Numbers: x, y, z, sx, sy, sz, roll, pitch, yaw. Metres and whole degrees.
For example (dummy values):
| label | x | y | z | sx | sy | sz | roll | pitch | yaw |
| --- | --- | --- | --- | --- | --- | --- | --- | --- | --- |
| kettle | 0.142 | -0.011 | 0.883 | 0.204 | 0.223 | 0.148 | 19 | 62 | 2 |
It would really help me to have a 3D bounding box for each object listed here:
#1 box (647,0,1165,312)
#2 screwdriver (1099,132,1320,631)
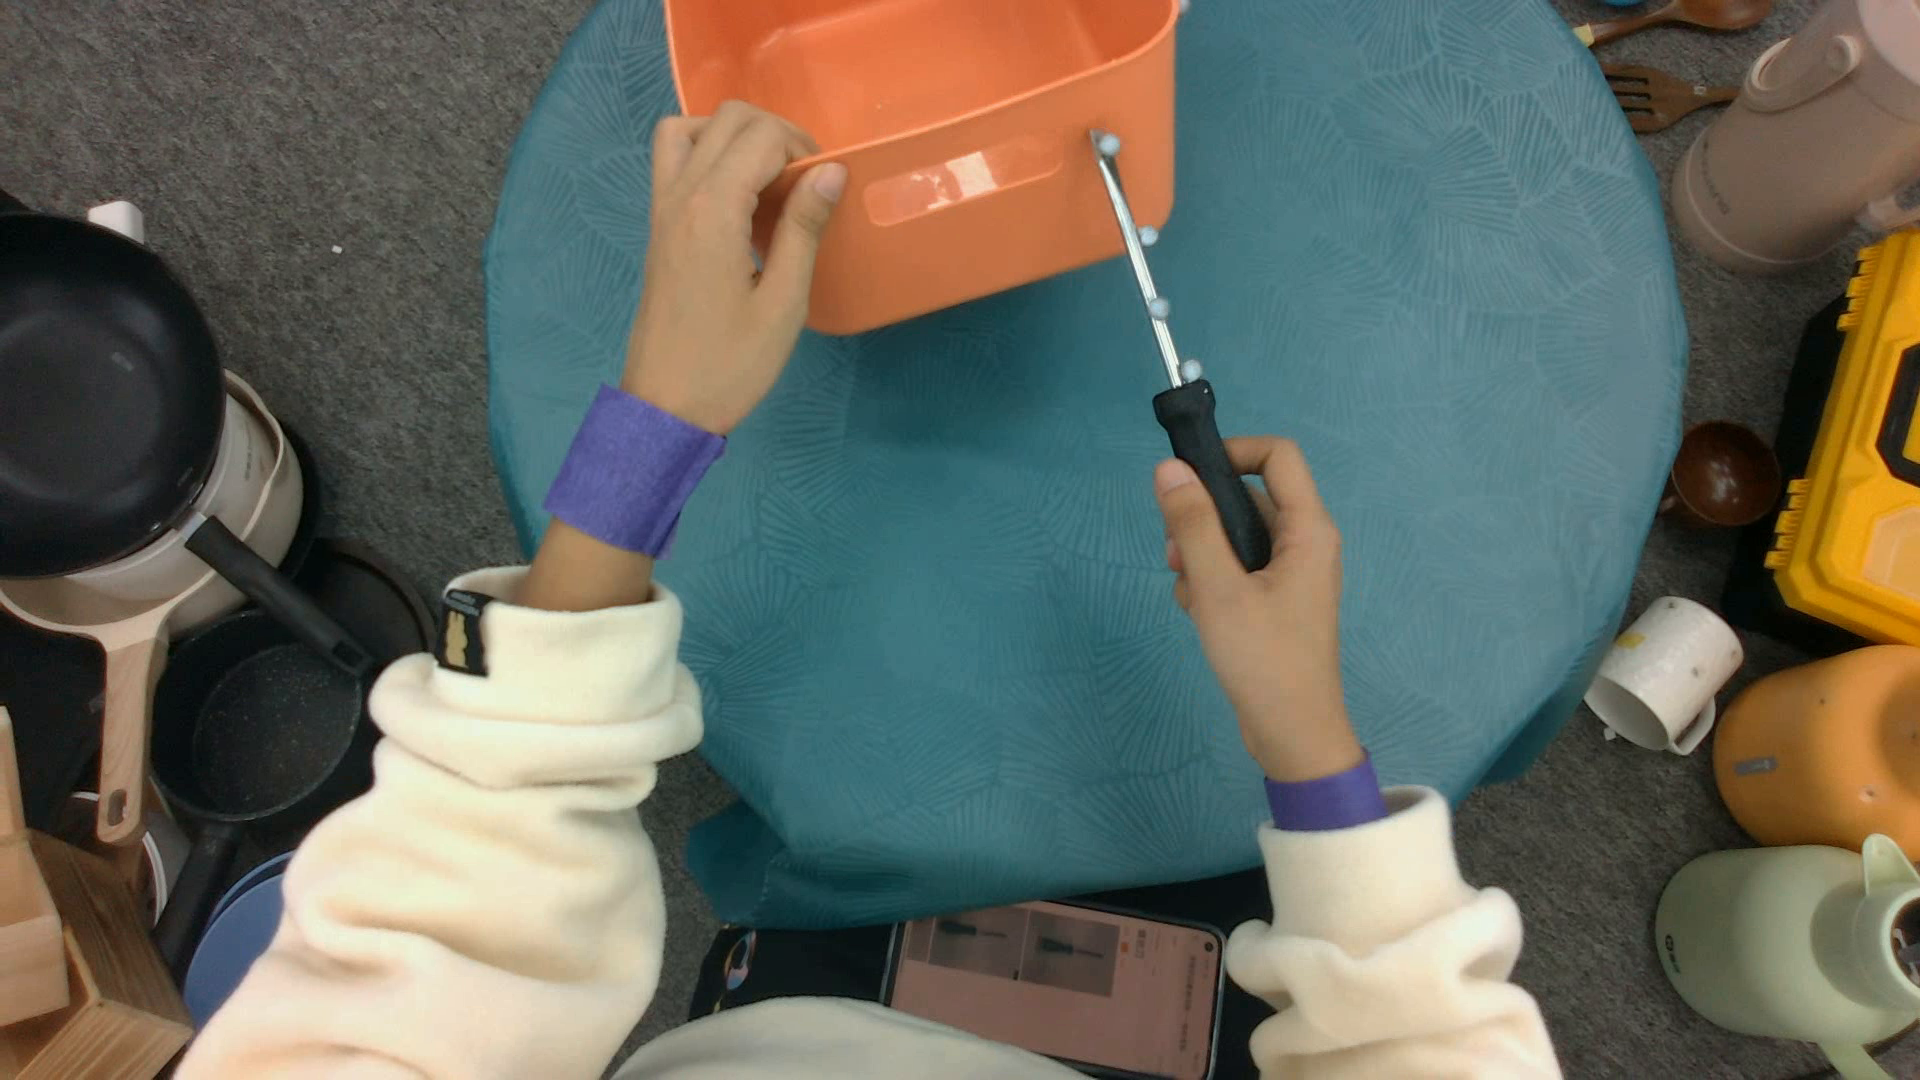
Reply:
| label | x | y | z | sx | sy | sz | roll | pitch | yaw |
| --- | --- | --- | --- | --- | --- | --- | --- | --- | --- |
| box | -0.028 | -0.229 | 0.616 | 0.199 | 0.102 | 0.274 | -16 | 50 | 0 |
| screwdriver | 0.088 | -0.057 | 0.511 | 0.031 | 0.031 | 0.197 | -25 | 96 | -7 |
